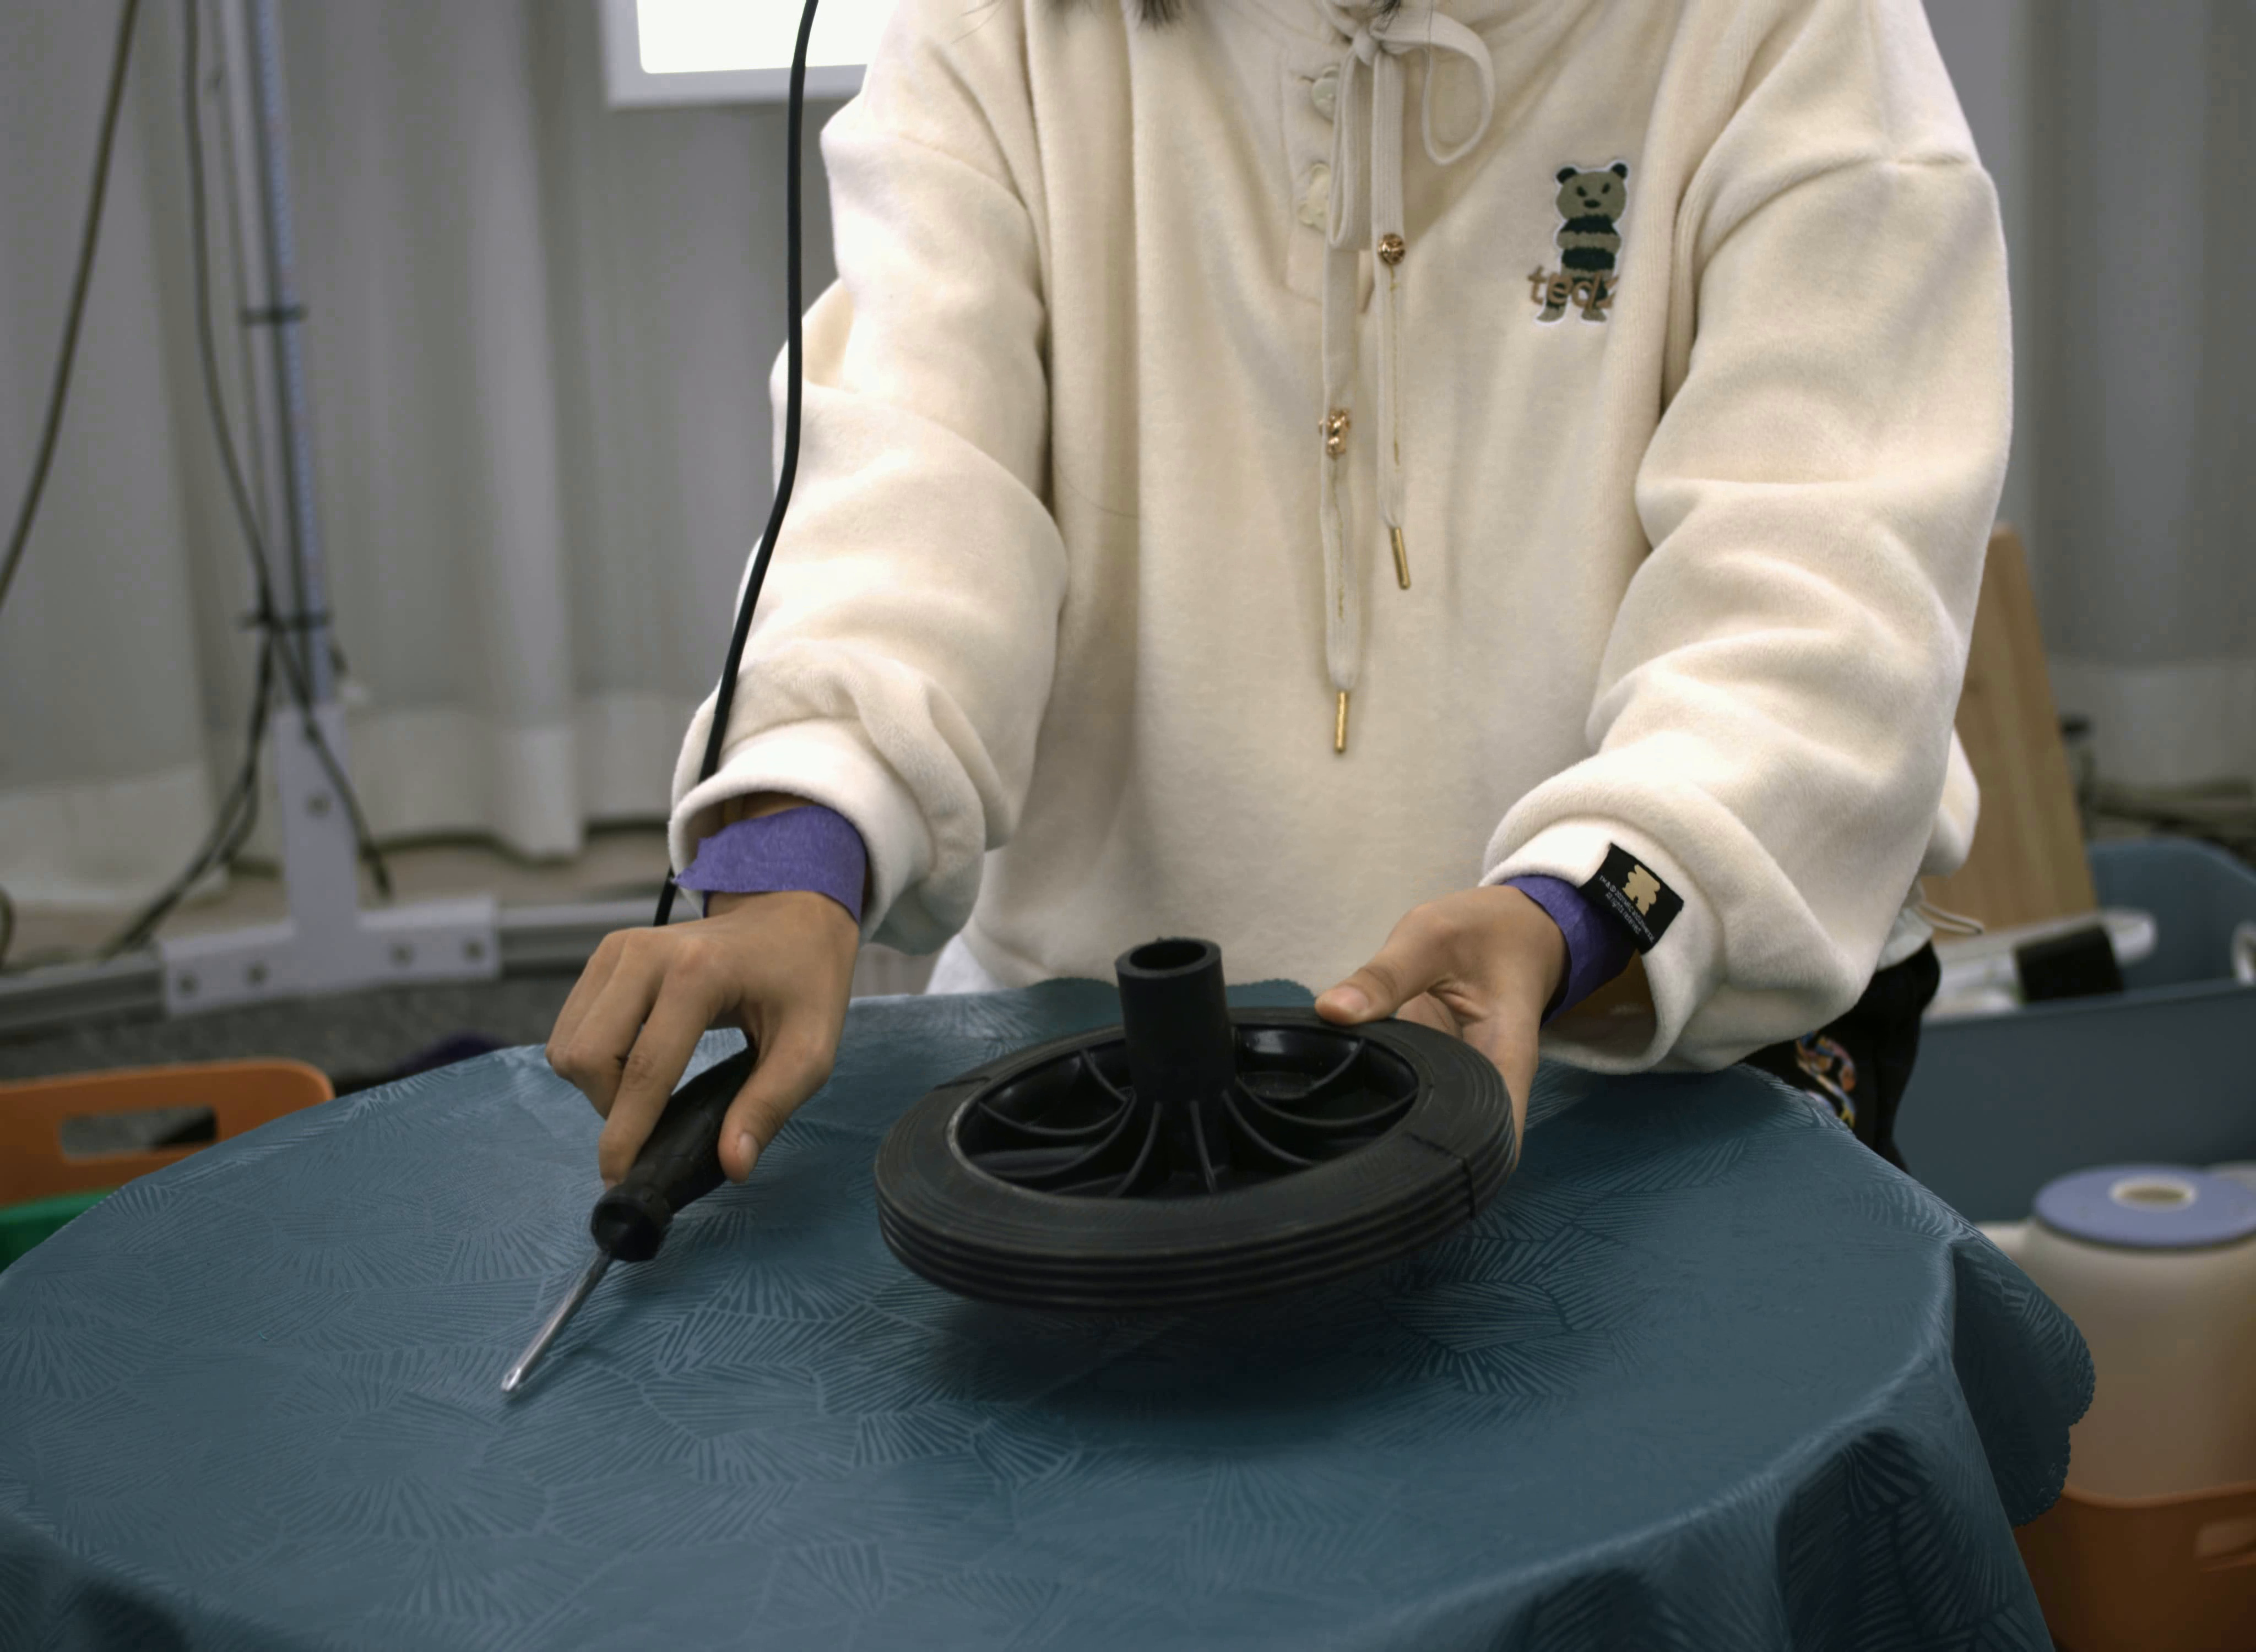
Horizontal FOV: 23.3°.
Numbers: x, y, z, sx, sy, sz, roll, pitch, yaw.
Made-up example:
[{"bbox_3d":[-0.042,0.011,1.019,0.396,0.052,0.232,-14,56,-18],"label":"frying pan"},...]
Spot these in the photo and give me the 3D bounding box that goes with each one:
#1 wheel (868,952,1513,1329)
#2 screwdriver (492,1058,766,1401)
[{"bbox_3d":[0.015,0.079,1.587,0.189,0.078,0.189,-15,19,-18],"label":"wheel"},{"bbox_3d":[-0.148,0.121,1.640,0.031,0.031,0.198,1,24,15],"label":"screwdriver"}]
